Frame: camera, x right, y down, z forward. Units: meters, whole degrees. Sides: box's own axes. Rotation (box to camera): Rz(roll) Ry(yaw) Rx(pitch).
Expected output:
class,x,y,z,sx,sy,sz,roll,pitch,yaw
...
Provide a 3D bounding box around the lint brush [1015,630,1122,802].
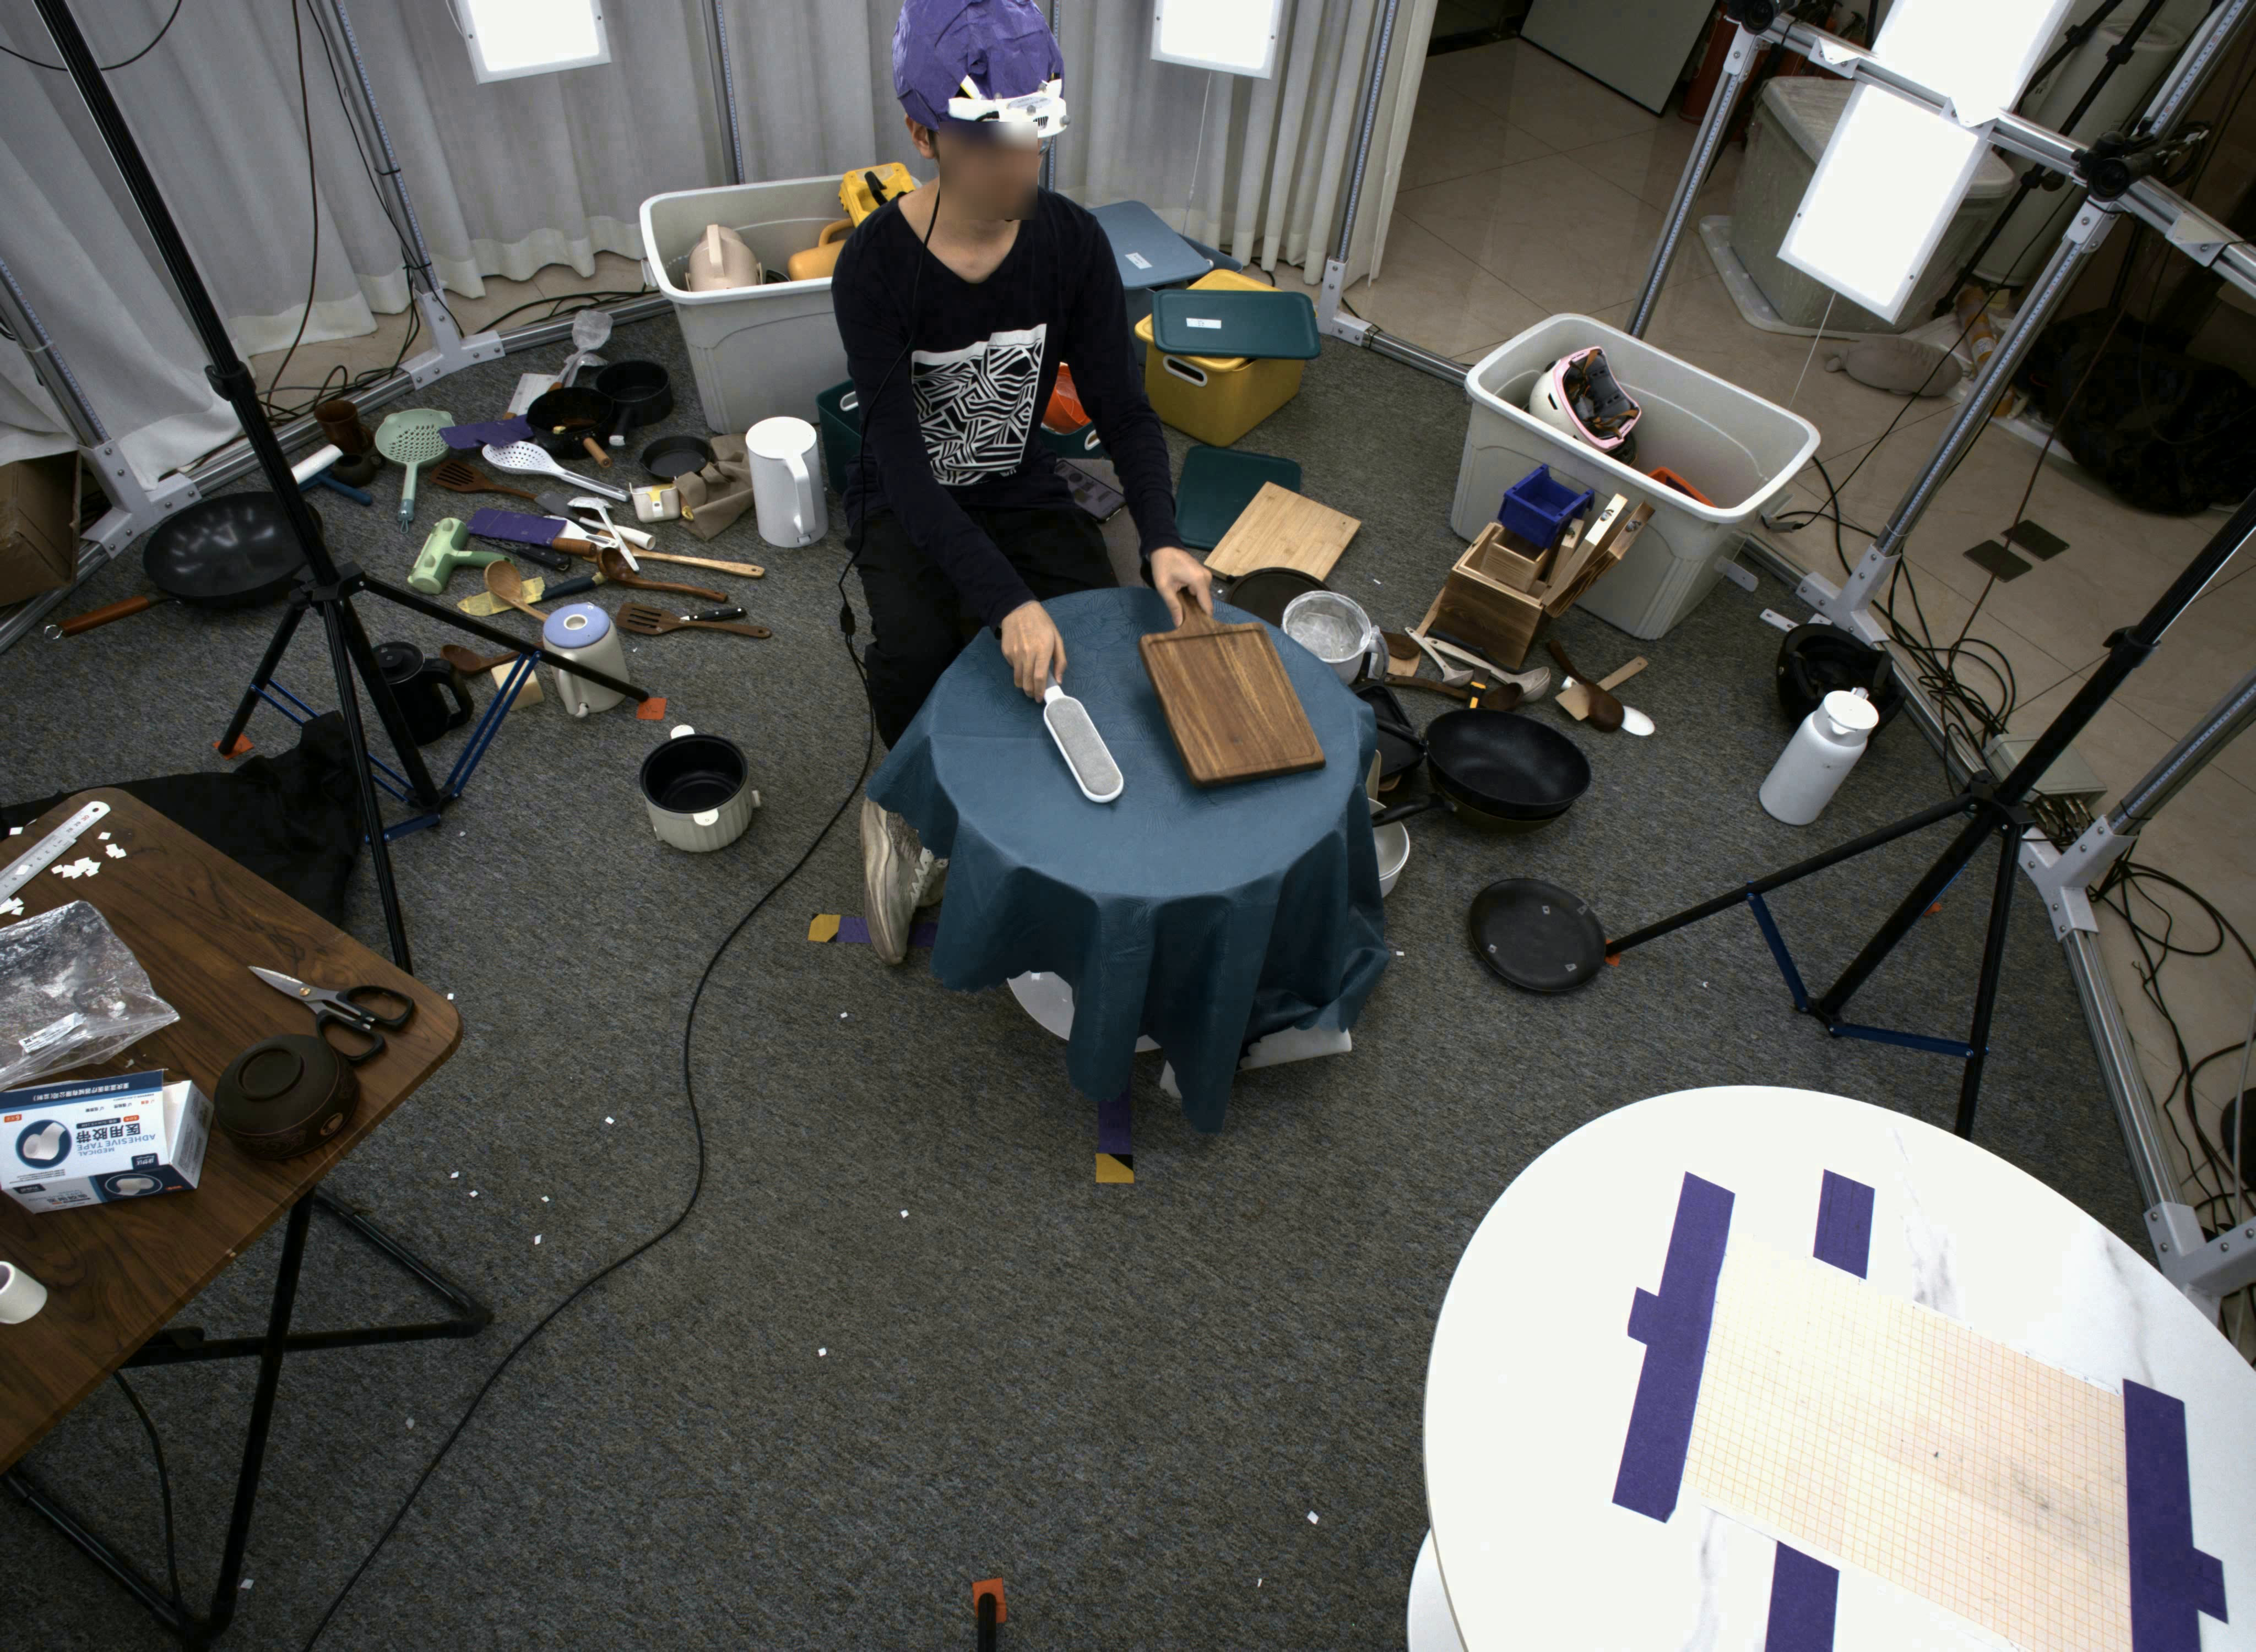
class,x,y,z,sx,sy,sz,roll,pitch,yaw
lint brush,-0.088,-0.156,1.759,0.060,0.020,0.315,-26,60,-5

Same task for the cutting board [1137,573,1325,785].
class,x,y,z,sx,sy,sz,roll,pitch,yaw
cutting board,0.127,-0.218,1.801,0.201,0.023,0.360,-8,59,-20
